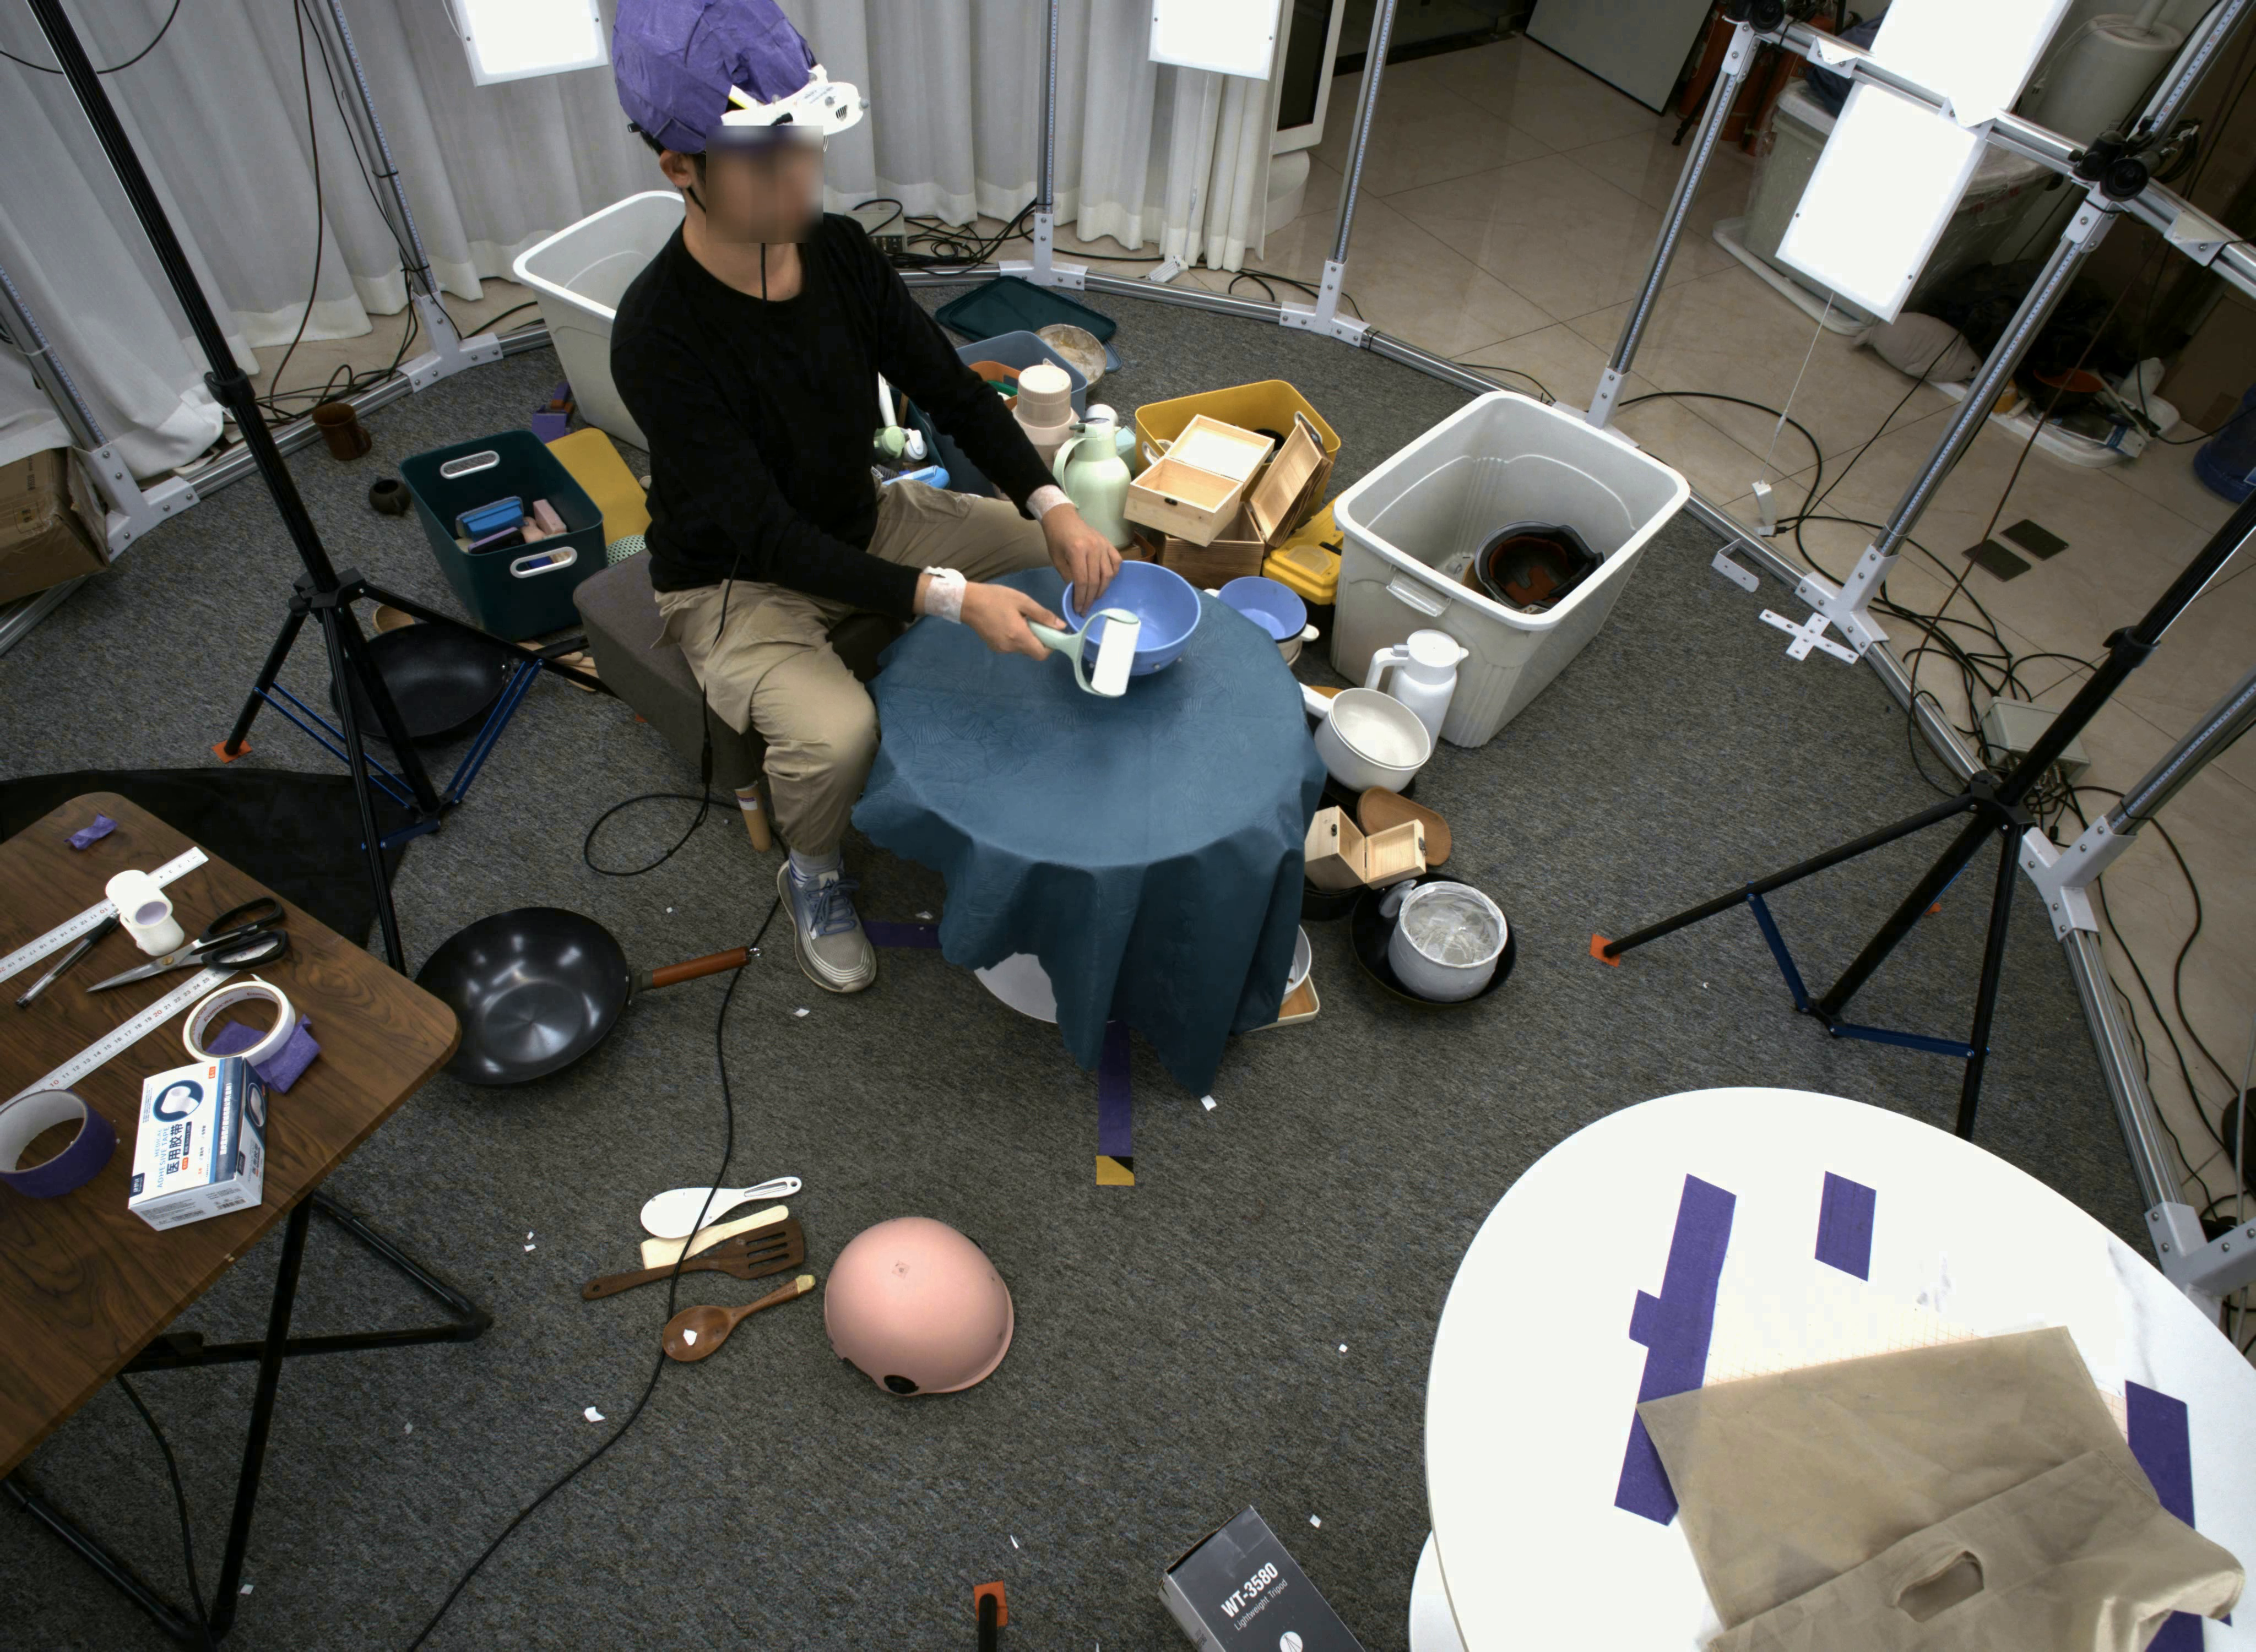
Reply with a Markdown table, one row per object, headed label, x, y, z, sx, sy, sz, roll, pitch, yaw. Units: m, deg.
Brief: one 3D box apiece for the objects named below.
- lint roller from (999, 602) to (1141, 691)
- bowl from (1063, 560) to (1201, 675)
| label | x | y | z | sx | sy | sz | roll | pitch | yaw |
| --- | --- | --- | --- | --- | --- | --- | --- | --- | --- |
| lint roller | -0.084 | -0.259 | 1.722 | 0.198 | 0.114 | 0.049 | 17 | 26 | 9 |
| bowl | 0.004 | -0.286 | 1.854 | 0.196 | 0.093 | 0.201 | 1 | 50 | -2 |
